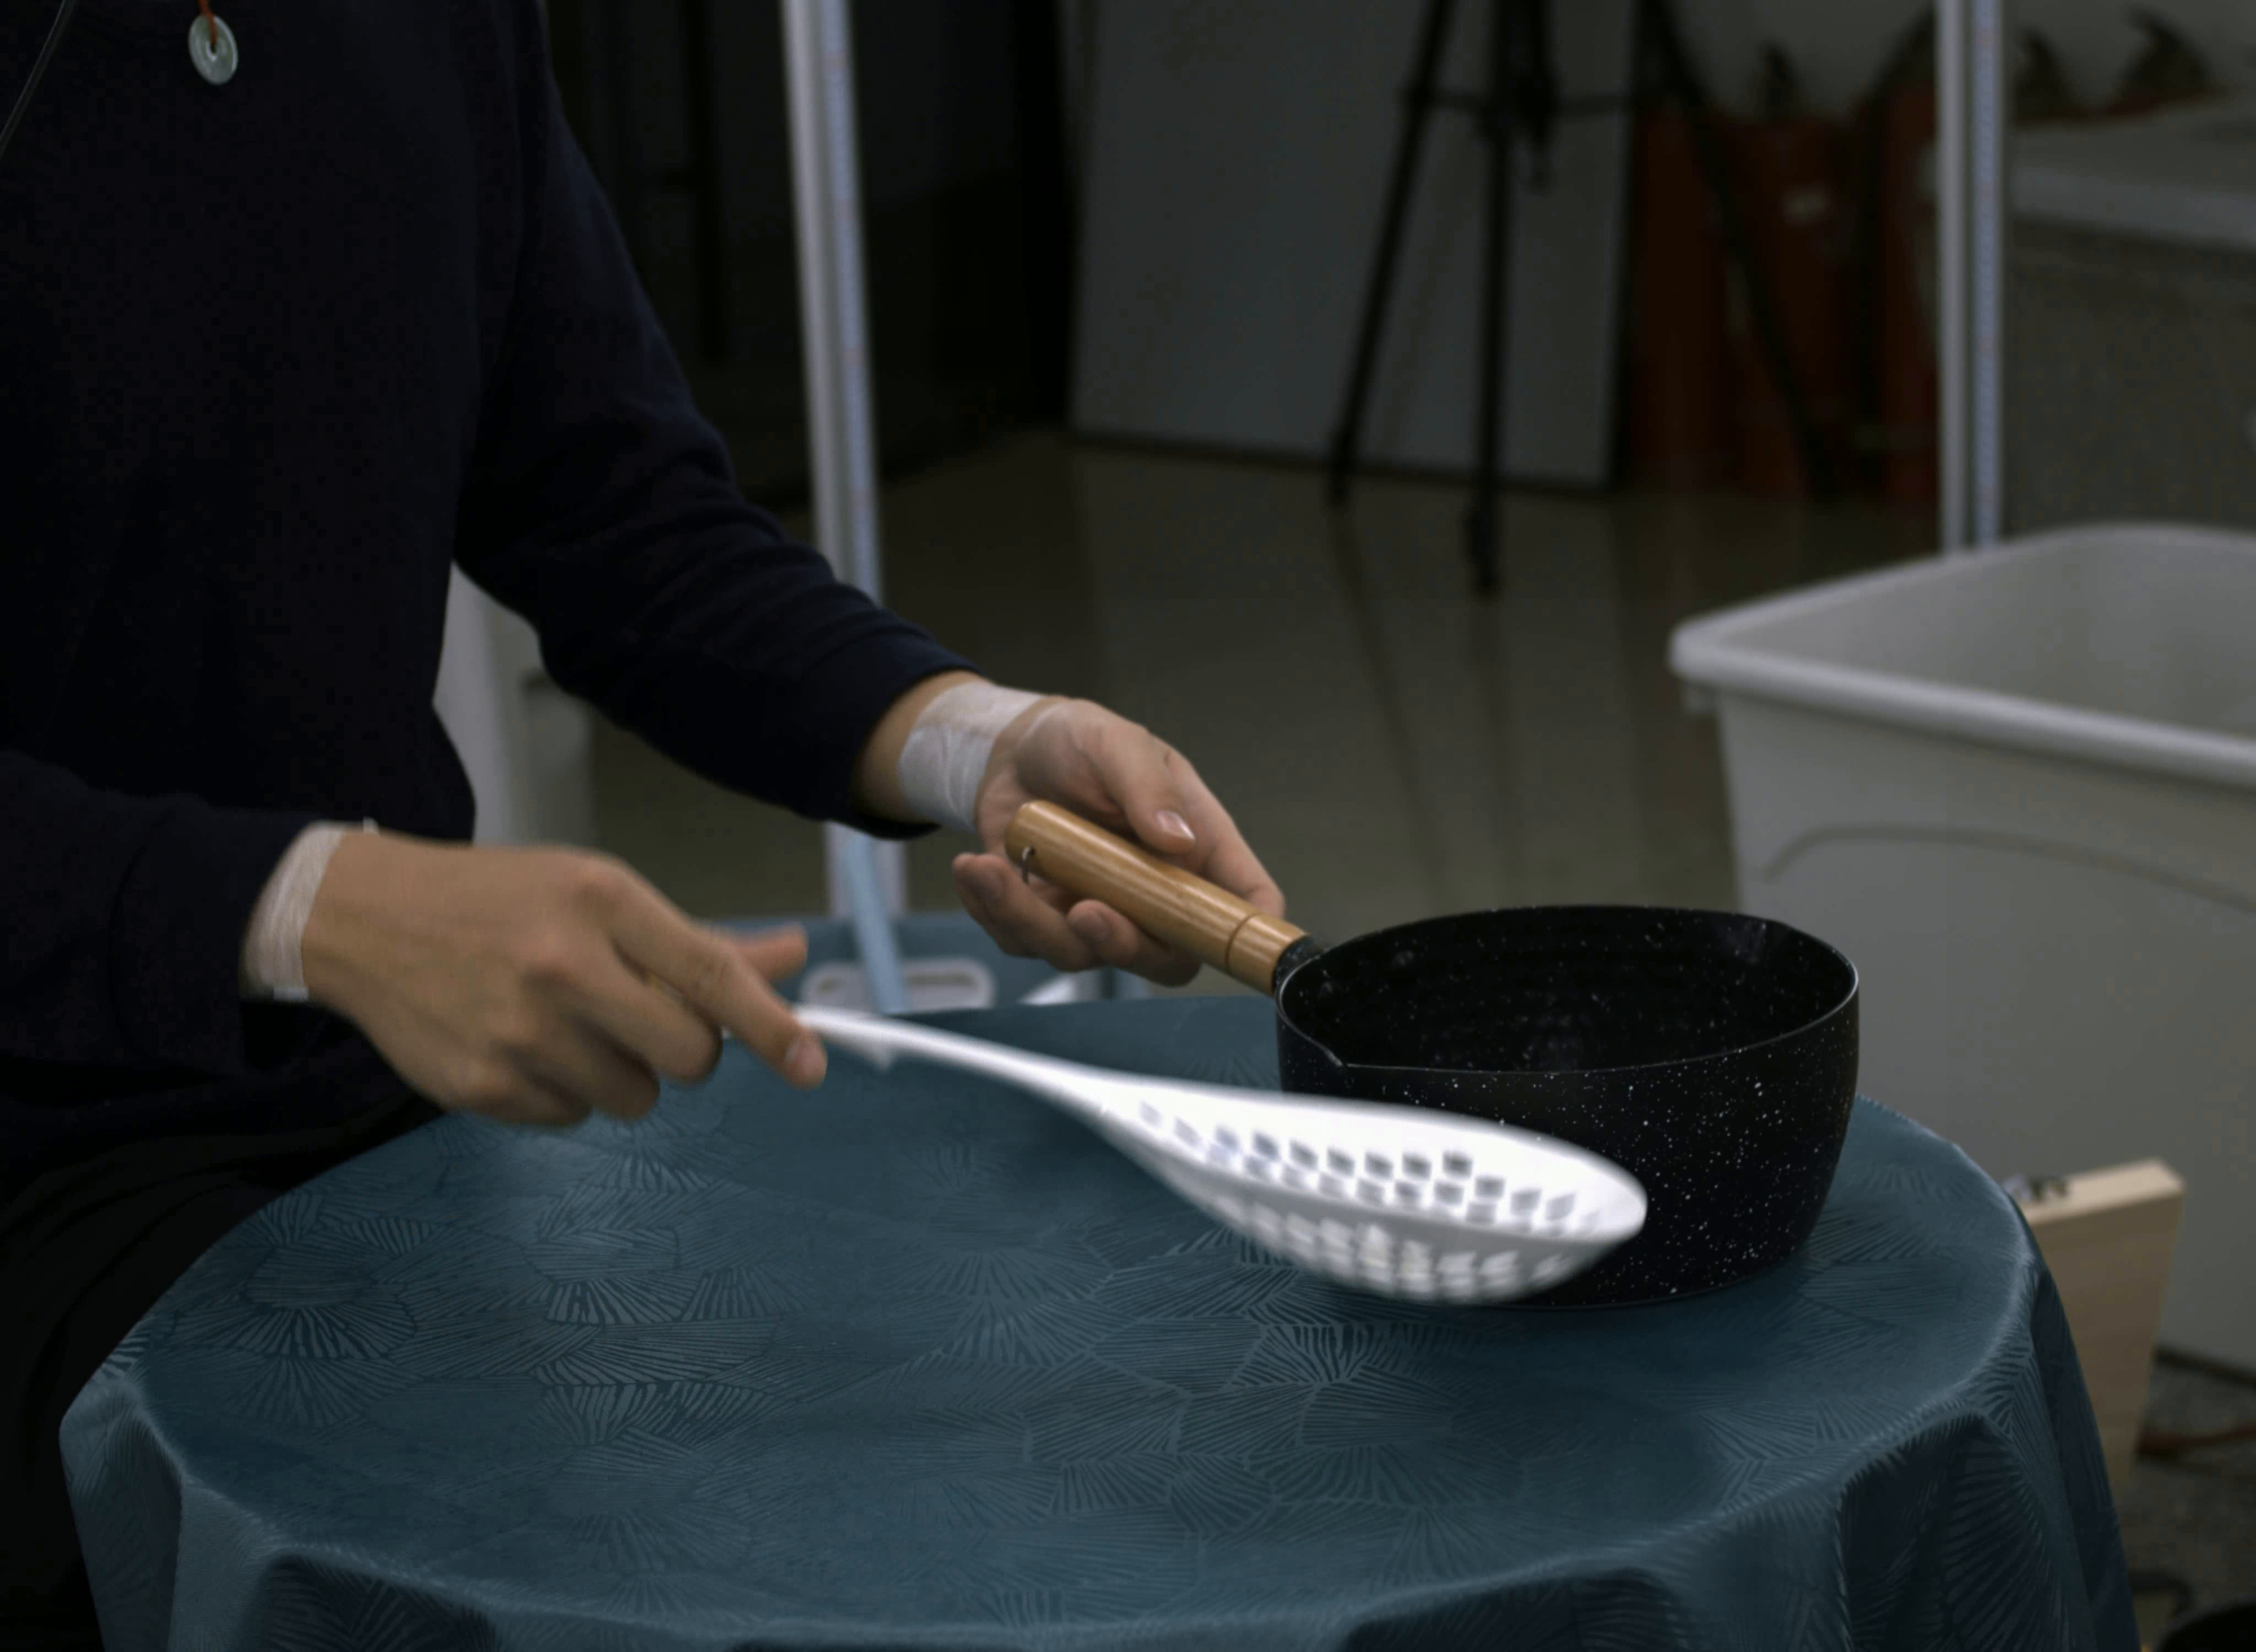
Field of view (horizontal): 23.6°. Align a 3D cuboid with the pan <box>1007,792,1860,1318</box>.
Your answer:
[{"bbox_3d":[0.082,0.067,1.740,0.203,0.109,0.346,-18,21,-41],"label":"pan"}]

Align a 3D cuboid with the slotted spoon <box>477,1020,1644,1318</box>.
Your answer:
[{"bbox_3d":[-0.022,0.086,1.554,0.347,0.051,0.135,17,10,14],"label":"slotted spoon"}]
